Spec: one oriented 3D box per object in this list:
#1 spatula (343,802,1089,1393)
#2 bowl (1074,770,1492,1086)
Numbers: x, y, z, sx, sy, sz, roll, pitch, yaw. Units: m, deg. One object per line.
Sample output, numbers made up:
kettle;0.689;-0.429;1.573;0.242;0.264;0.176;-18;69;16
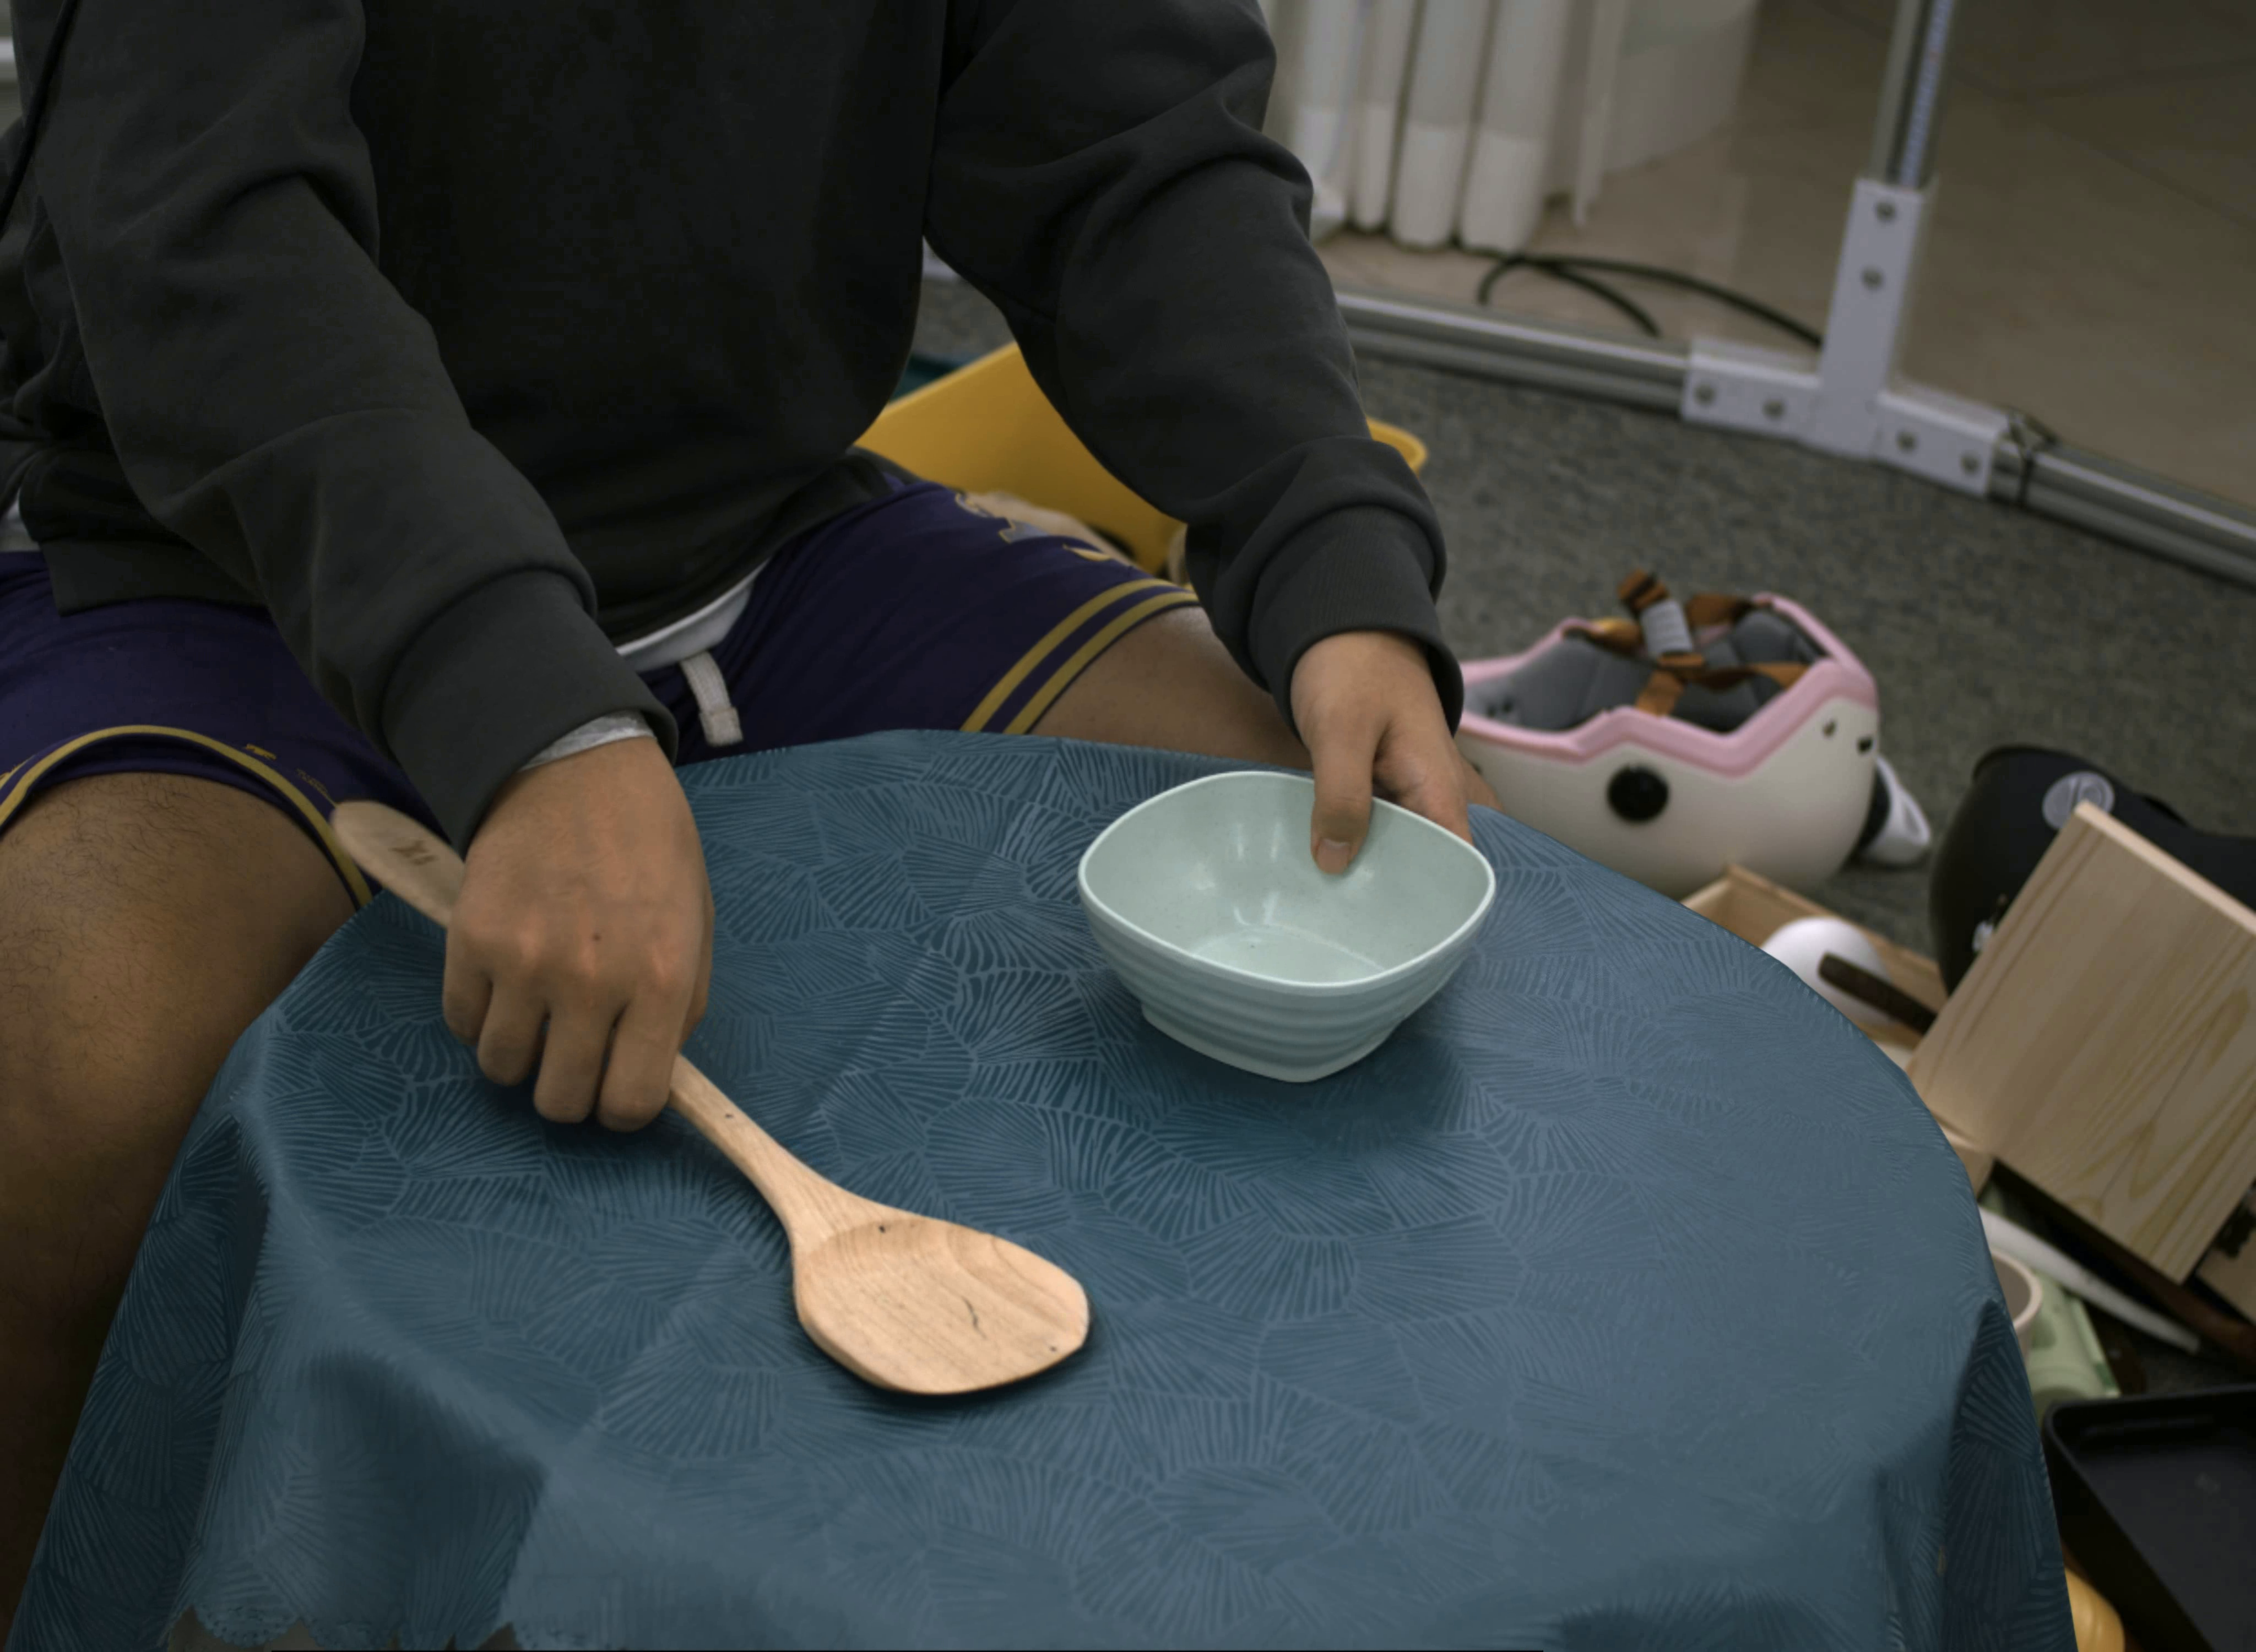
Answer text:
spatula;-0.160;0.085;1.802;0.095;0.018;0.394;-14;38;-39
bowl;0.053;0.042;1.908;0.151;0.058;0.152;4;30;-3
